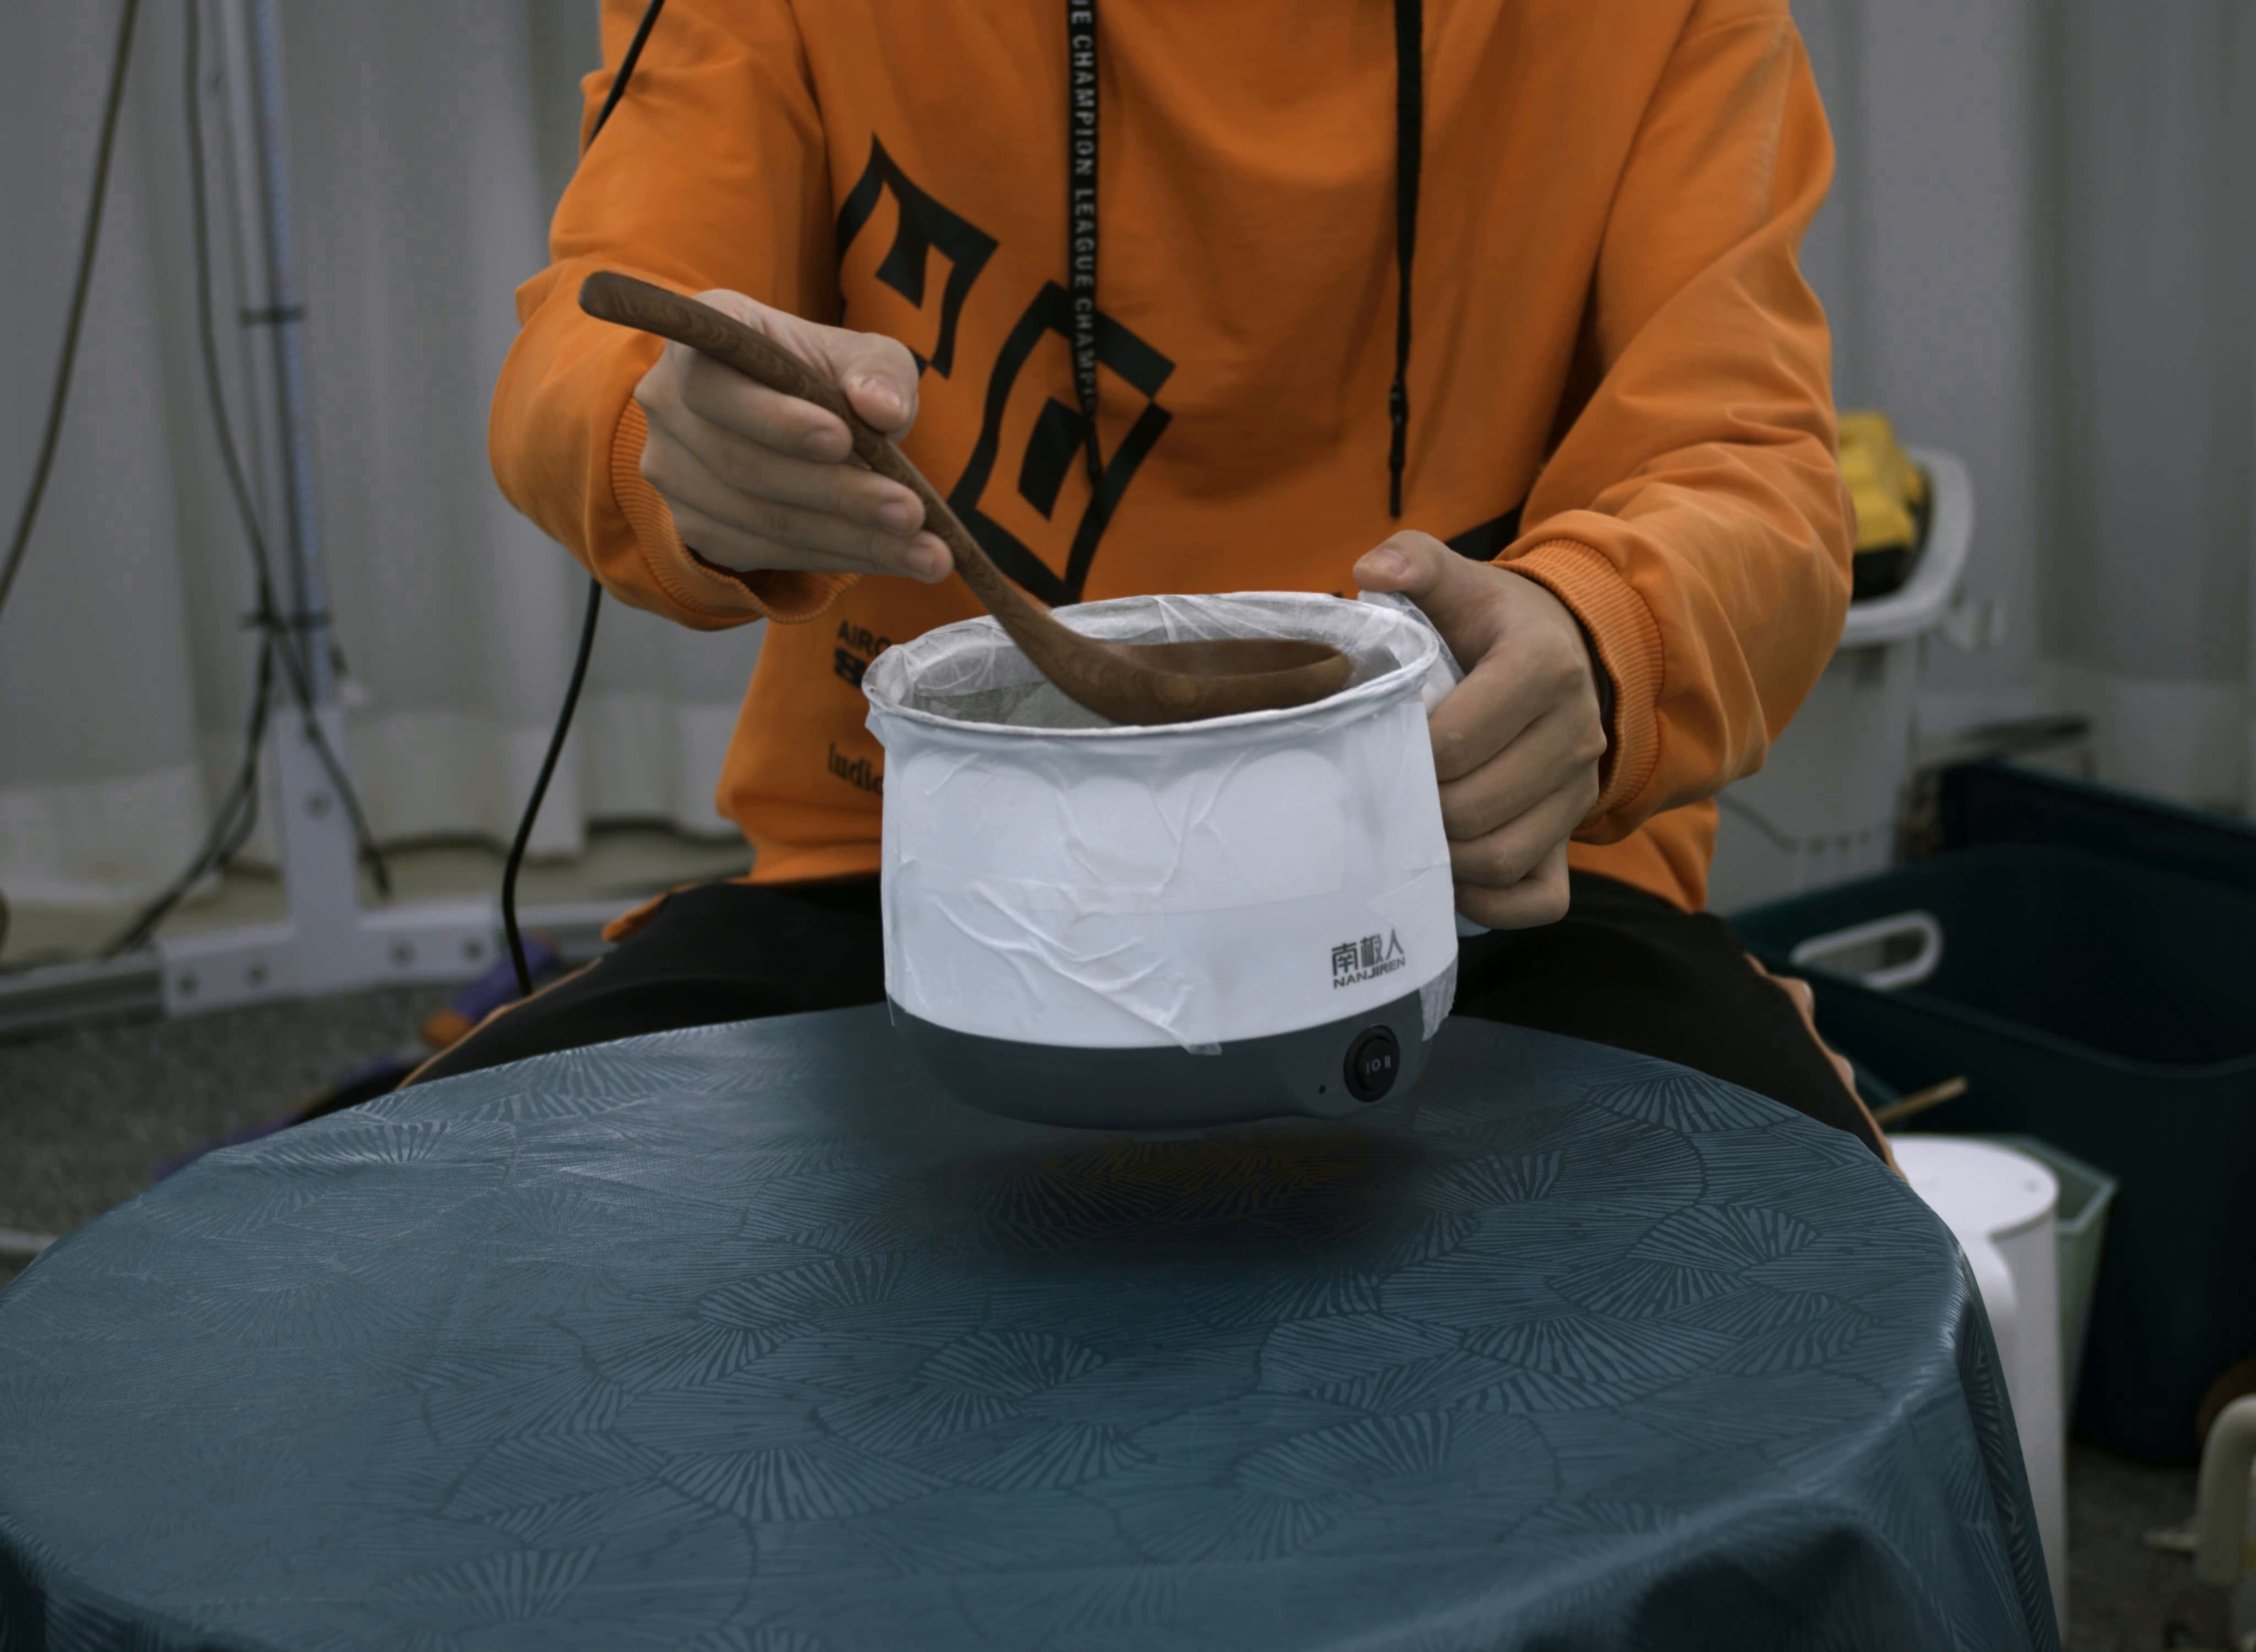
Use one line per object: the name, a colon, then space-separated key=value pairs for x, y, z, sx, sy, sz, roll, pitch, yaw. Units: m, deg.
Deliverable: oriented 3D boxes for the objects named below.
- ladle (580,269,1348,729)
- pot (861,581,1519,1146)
ladle: x=-0.046 y=-0.103 z=1.642 sx=0.258 sy=0.065 sz=0.077 roll=39 pitch=-5 yaw=-13
pot: x=0.031 y=0.004 z=1.696 sx=0.233 sy=0.136 sz=0.180 roll=-17 pitch=20 yaw=-42
